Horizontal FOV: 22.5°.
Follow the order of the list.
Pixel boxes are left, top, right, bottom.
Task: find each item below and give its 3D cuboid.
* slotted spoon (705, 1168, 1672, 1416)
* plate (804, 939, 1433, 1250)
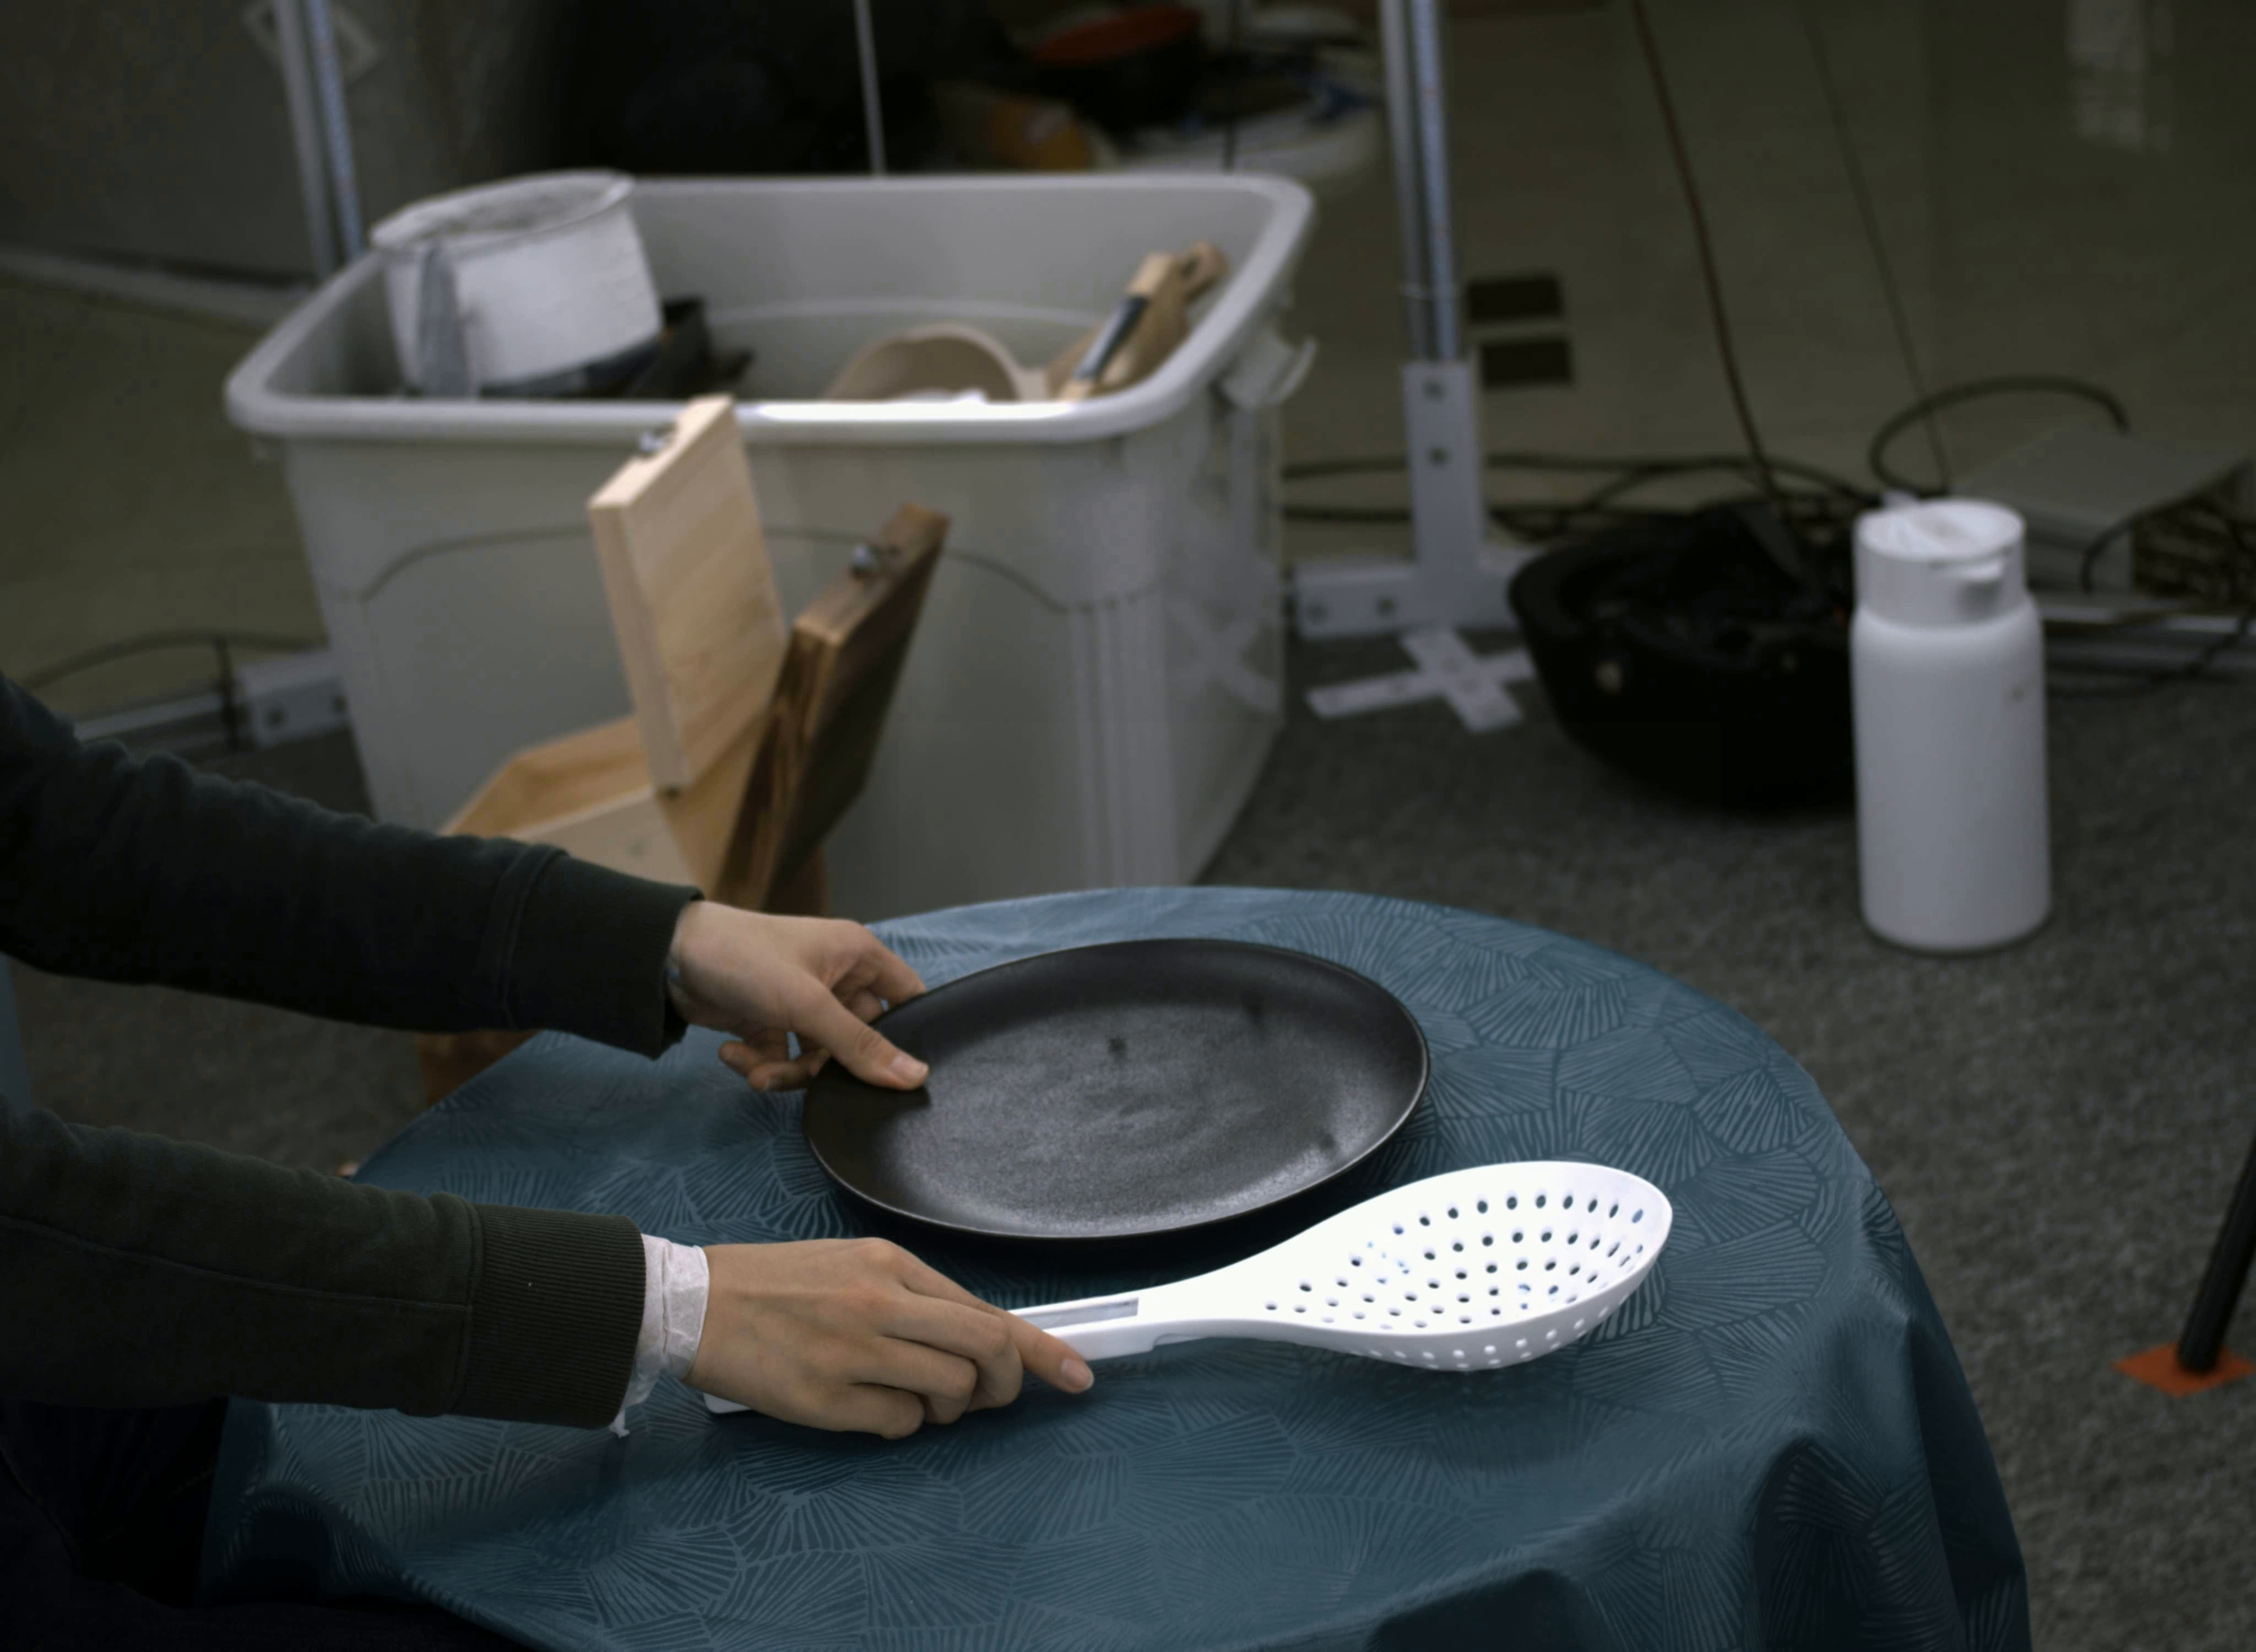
[{"bbox_3d":[0.020,0.173,2.020,0.349,0.046,0.134,-5,18,5],"label":"slotted spoon"},{"bbox_3d":[-0.003,0.108,2.189,0.244,0.024,0.240,-5,26,3],"label":"plate"}]
